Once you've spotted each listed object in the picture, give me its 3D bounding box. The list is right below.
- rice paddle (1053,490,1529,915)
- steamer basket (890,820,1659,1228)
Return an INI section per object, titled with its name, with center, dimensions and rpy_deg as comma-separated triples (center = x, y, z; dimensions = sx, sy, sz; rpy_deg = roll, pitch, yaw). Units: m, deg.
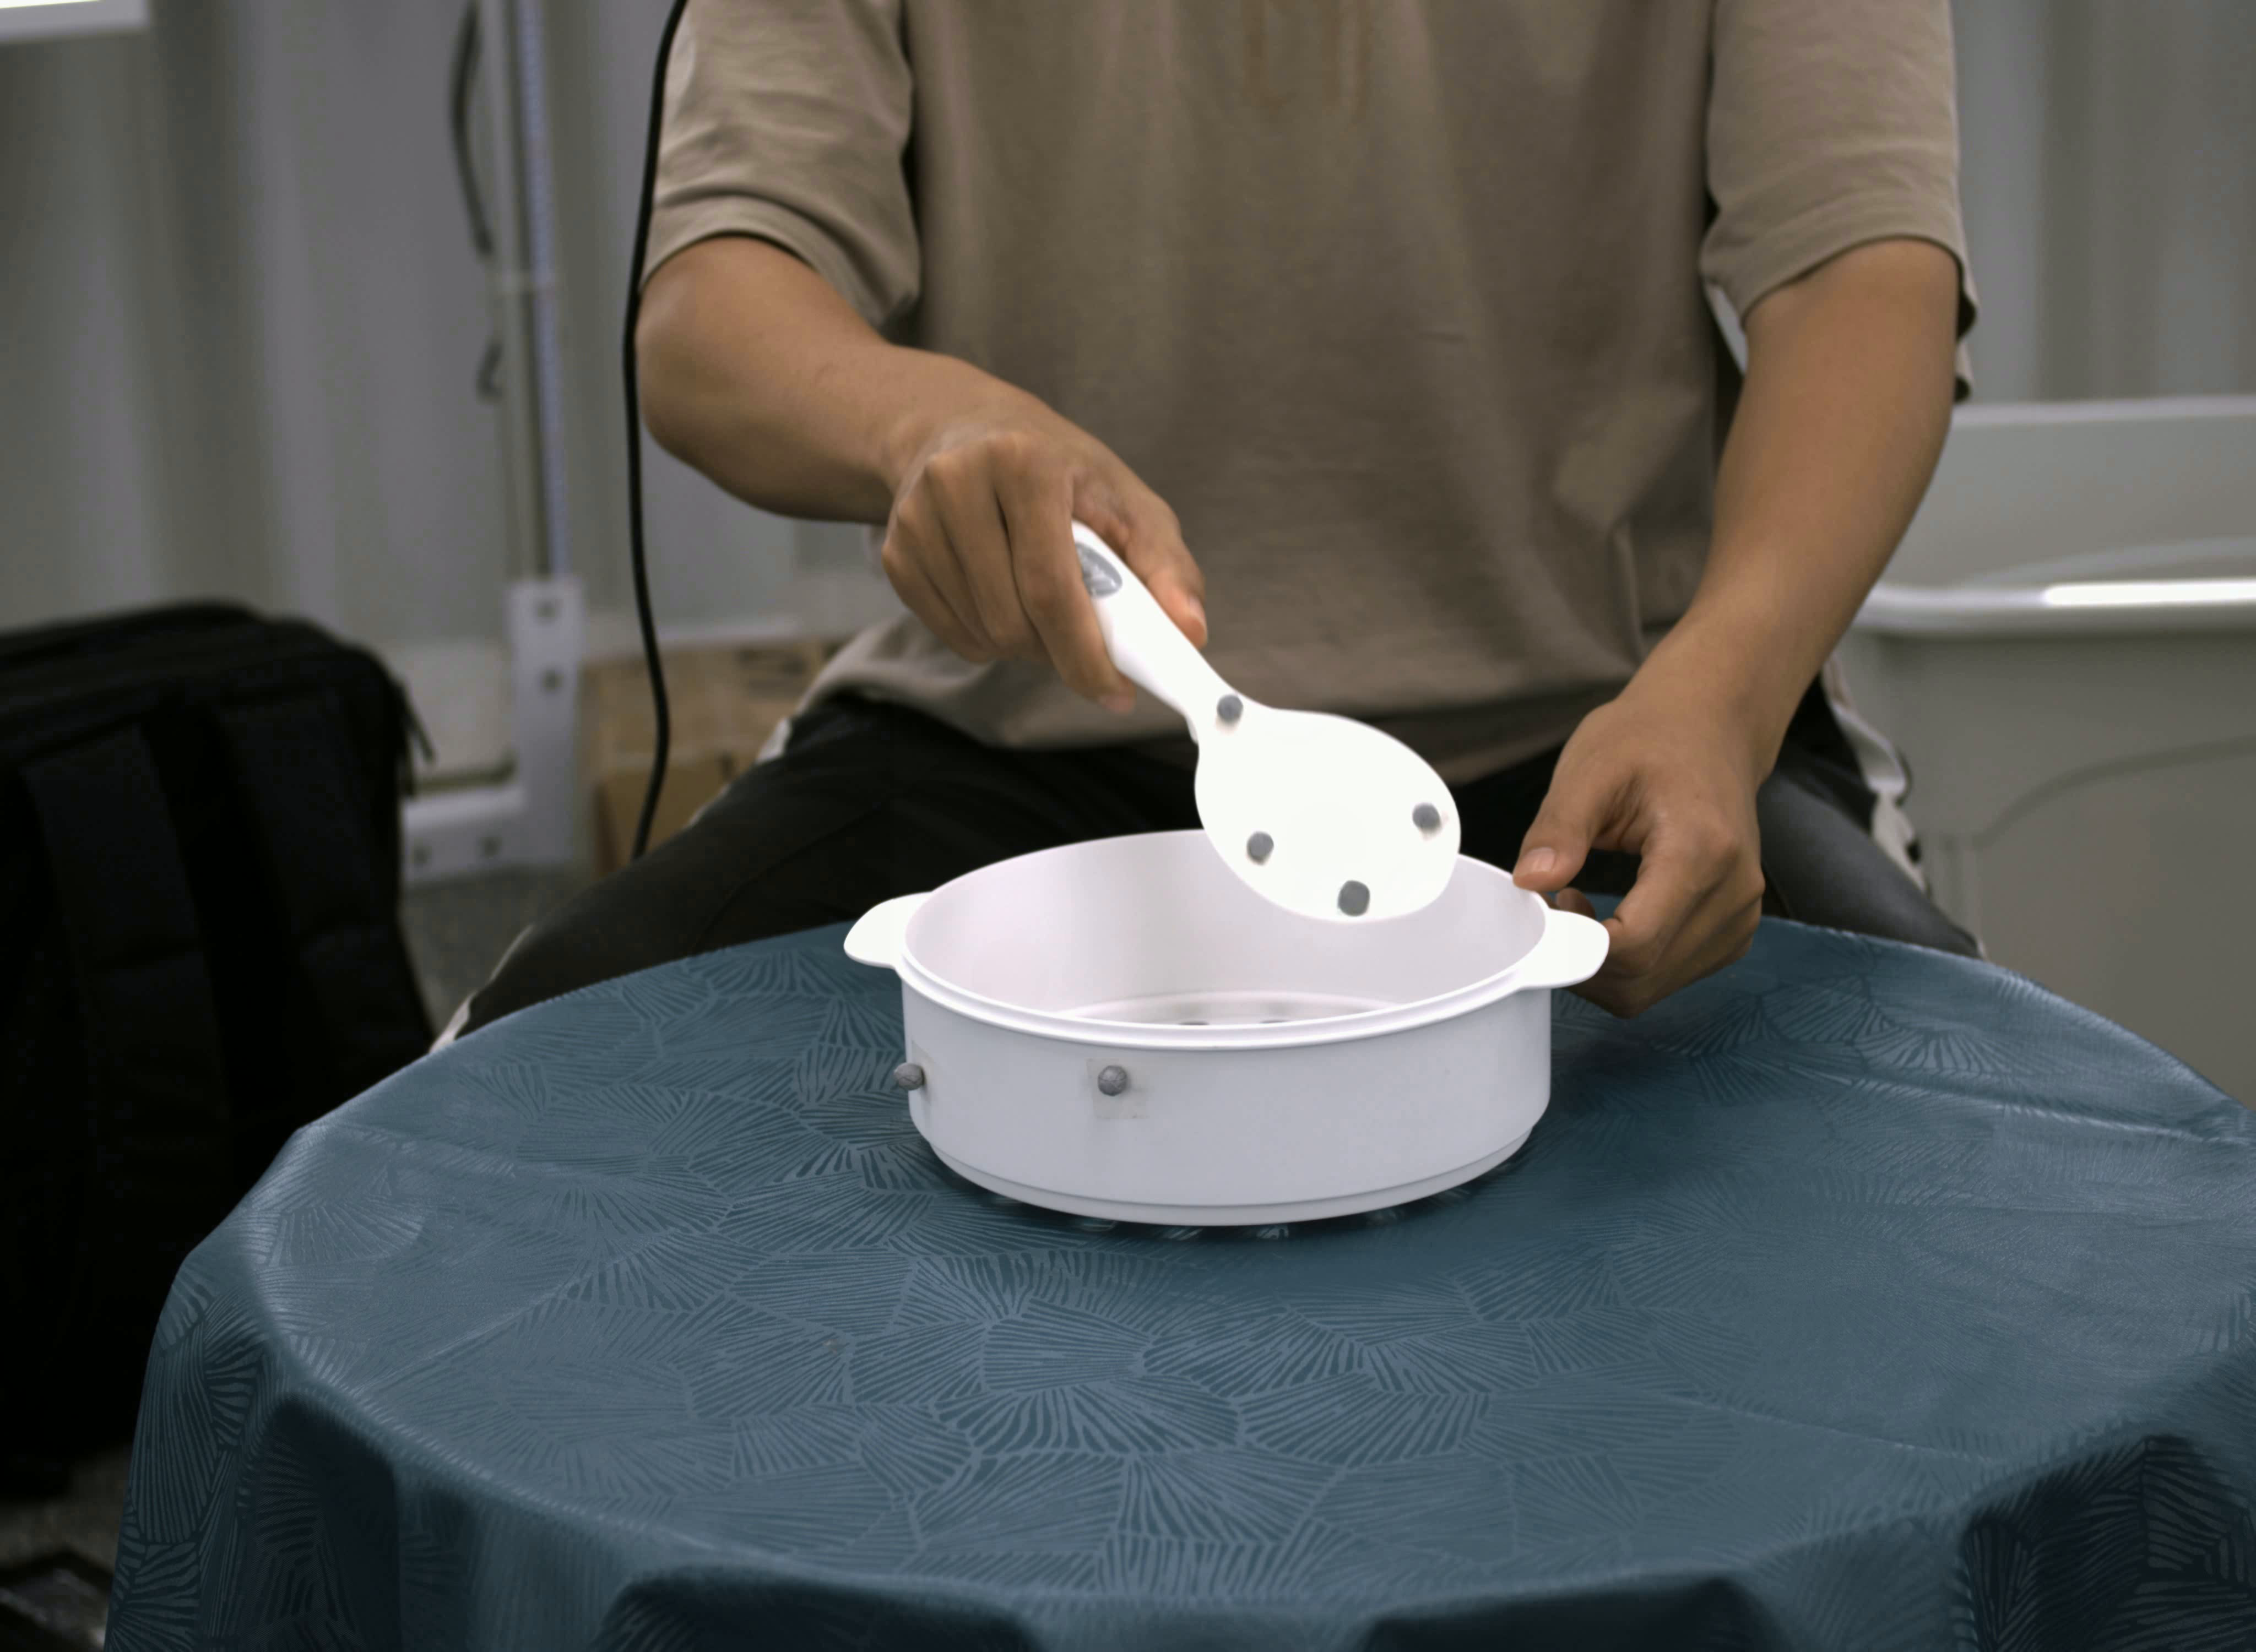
[rice paddle]
center = 0.047, -0.037, 1.604
dimensions = 0.068, 0.029, 0.210
rpy_deg = -32, 48, -16
[steamer basket]
center = 0.043, 0.059, 1.592
dimensions = 0.232, 0.069, 0.200
rpy_deg = 4, 17, 13
